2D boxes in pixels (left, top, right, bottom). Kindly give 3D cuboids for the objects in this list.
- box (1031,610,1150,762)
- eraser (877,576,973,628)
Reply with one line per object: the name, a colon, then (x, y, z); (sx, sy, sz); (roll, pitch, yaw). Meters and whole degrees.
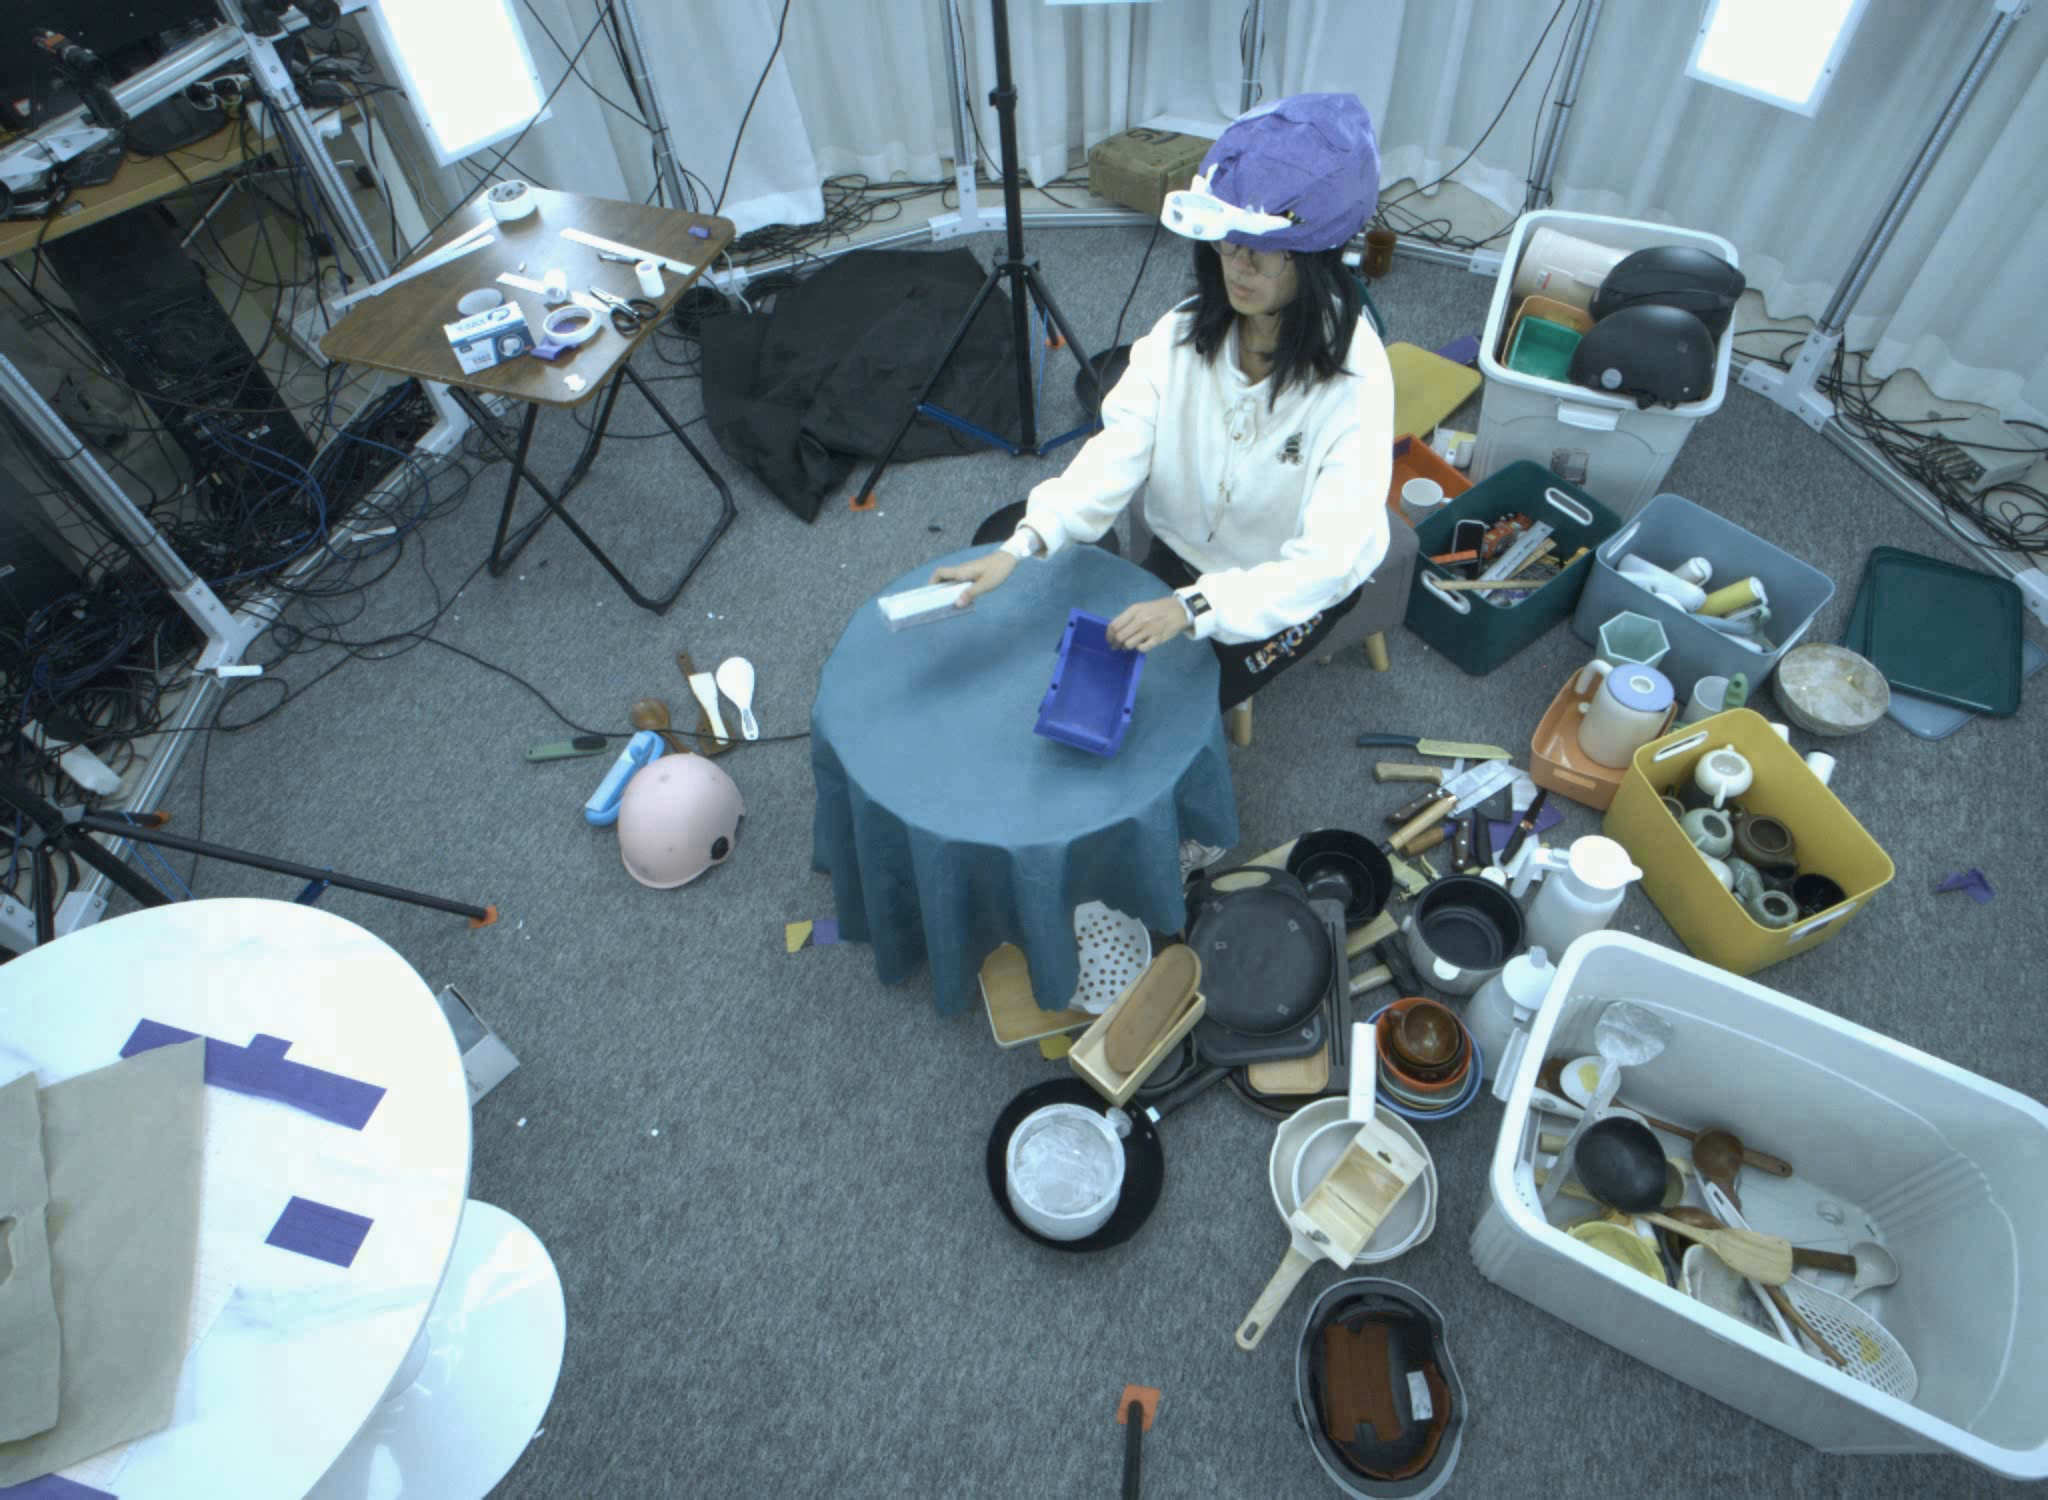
box: (0.096, -0.087, 1.754); (0.125, 0.081, 0.179); (20, 64, -7)
eraser: (-0.145, -0.219, 1.800); (0.136, 0.047, 0.048); (-19, 21, -24)
